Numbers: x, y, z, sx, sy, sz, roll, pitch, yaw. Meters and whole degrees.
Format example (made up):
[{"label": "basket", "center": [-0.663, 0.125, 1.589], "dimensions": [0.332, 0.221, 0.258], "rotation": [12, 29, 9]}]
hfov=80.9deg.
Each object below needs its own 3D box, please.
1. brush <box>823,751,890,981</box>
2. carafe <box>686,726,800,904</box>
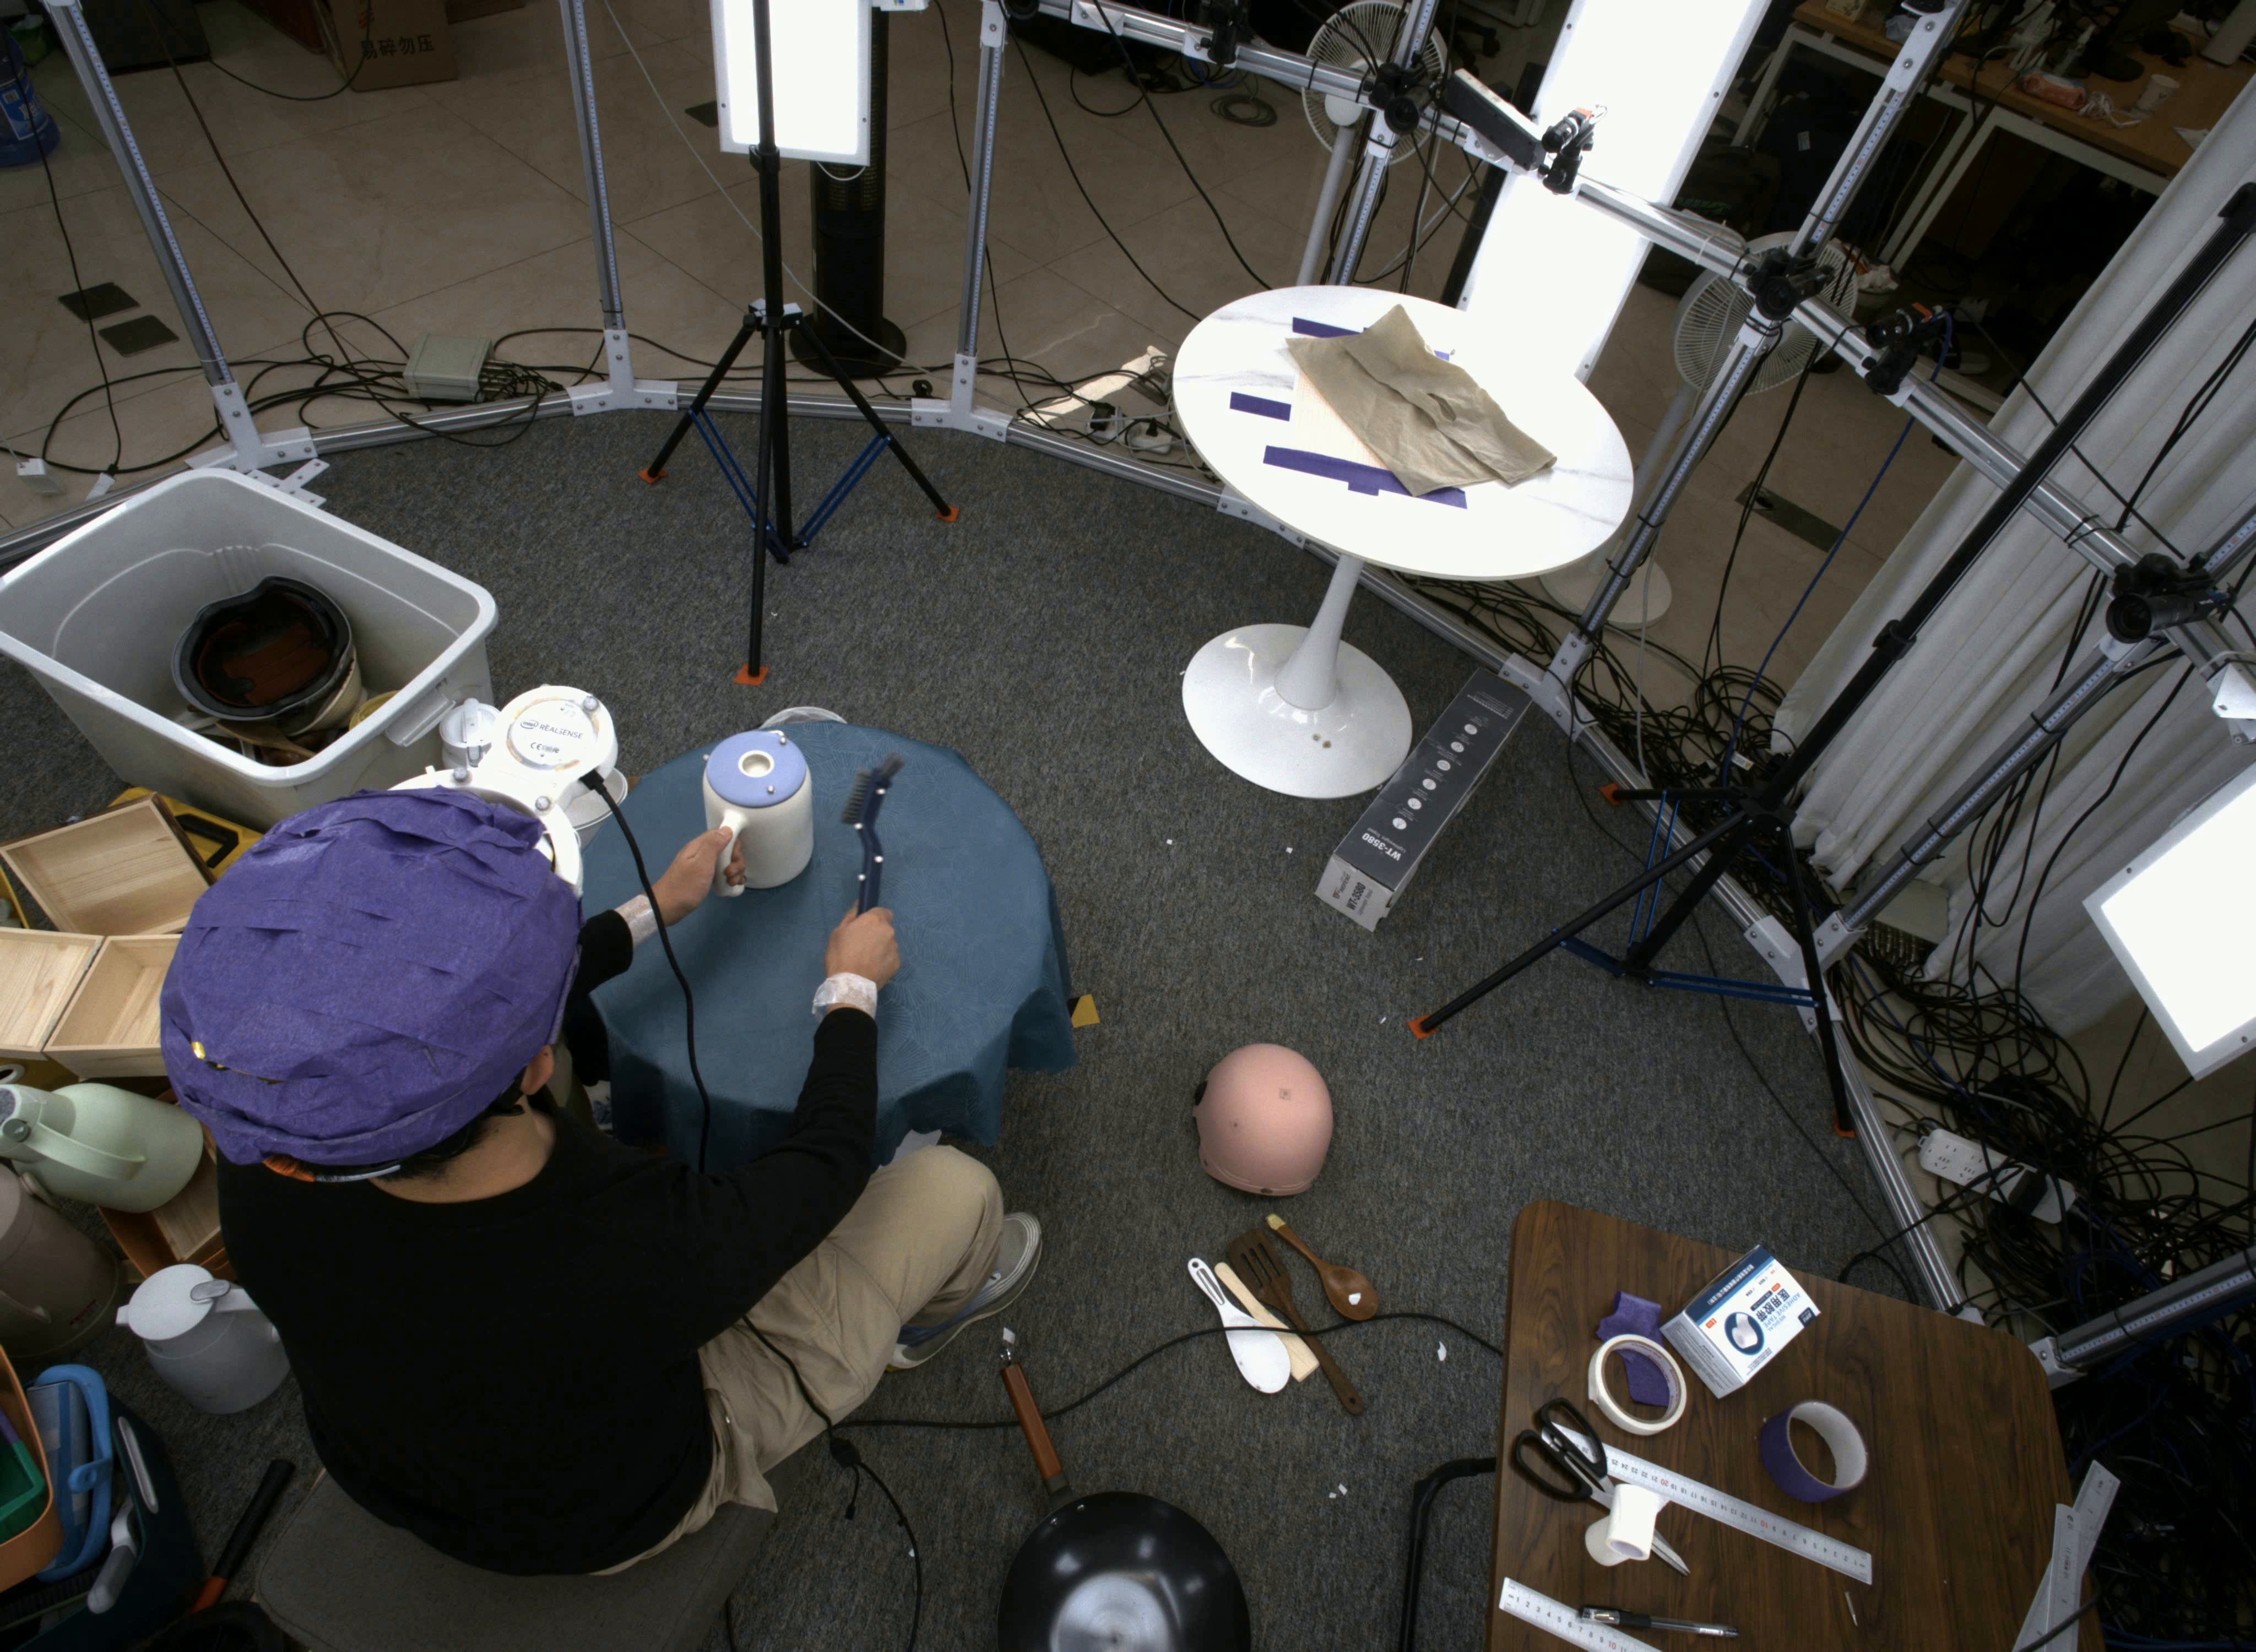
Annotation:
[{"label": "brush", "center": [-0.328, 0.046, 1.575], "dimensions": [0.094, 0.034, 0.271], "rotation": [-14, 70, 18]}, {"label": "carafe", "center": [-0.483, -0.002, 1.593], "dimensions": [0.131, 0.186, 0.188], "rotation": [14, 52, -1]}]
